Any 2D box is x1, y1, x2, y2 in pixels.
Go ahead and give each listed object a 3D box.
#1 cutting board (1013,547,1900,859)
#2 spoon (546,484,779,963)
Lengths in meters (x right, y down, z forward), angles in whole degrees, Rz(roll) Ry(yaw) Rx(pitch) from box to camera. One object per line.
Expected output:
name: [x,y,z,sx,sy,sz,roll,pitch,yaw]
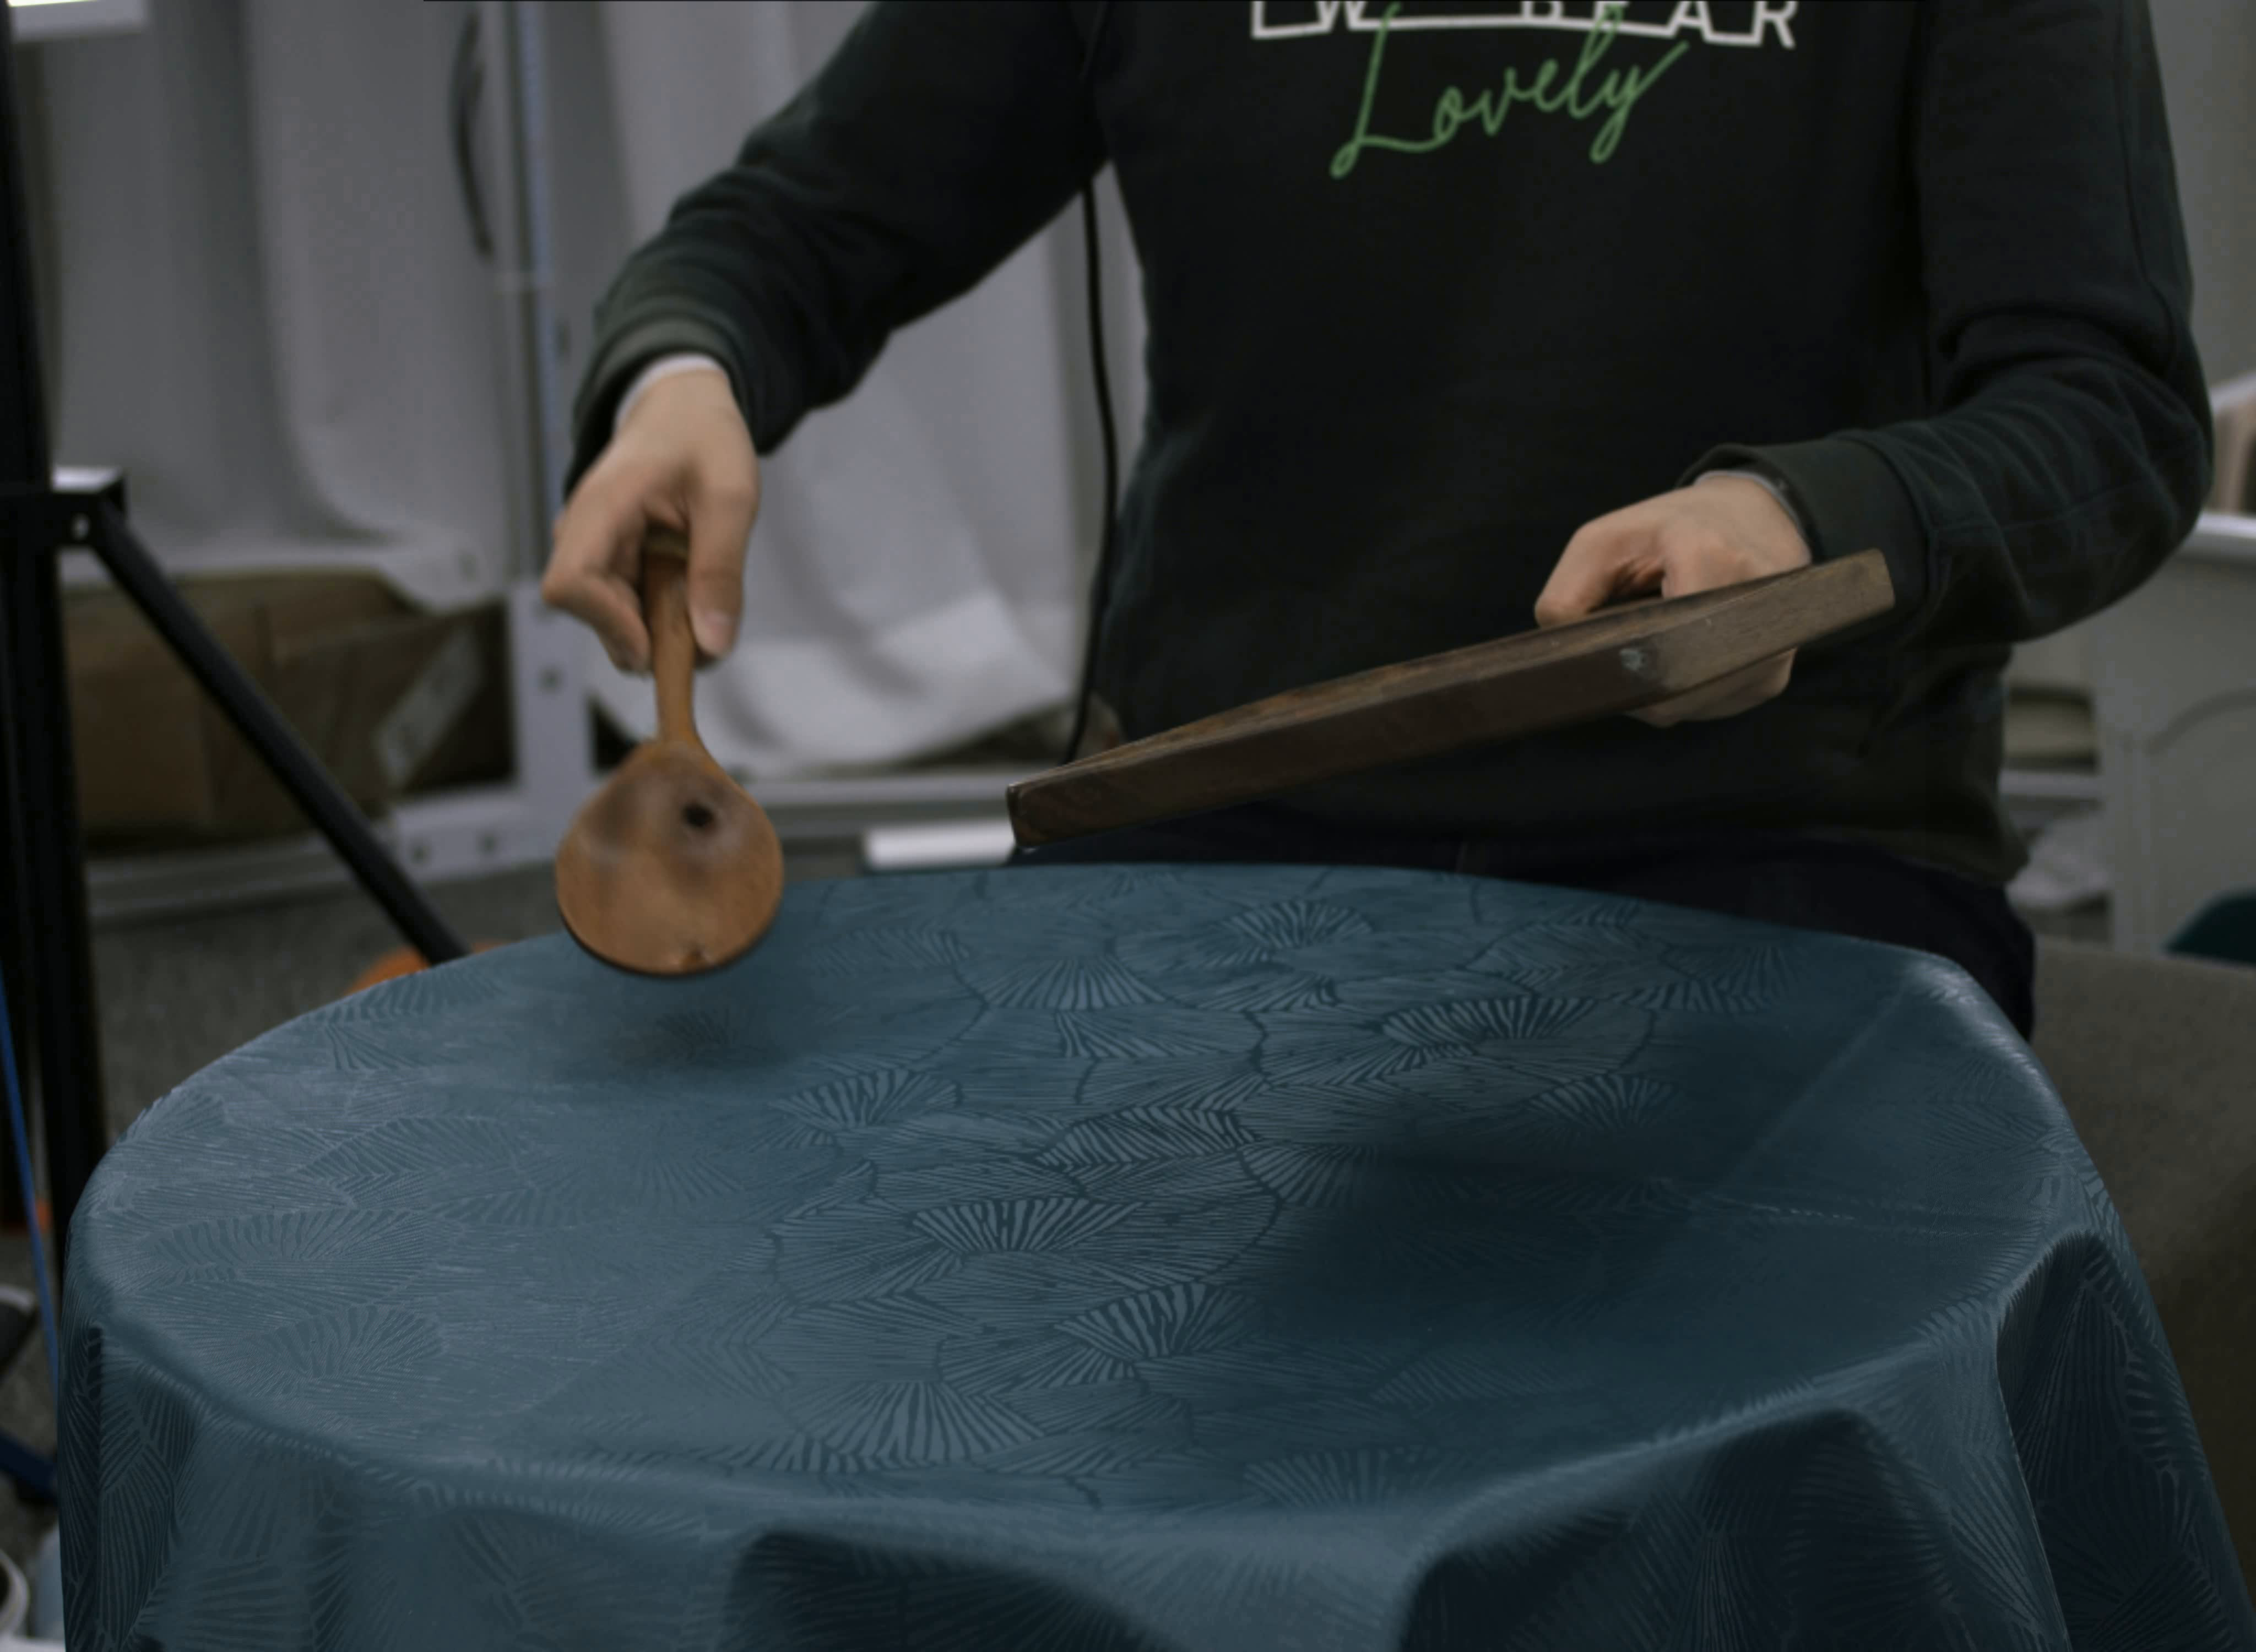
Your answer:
cutting board: [0.116,-0.042,1.549,0.203,0.023,0.346,-14,2,23]
spoon: [-0.152,-0.034,1.759,0.075,0.017,0.218,-2,47,-1]
